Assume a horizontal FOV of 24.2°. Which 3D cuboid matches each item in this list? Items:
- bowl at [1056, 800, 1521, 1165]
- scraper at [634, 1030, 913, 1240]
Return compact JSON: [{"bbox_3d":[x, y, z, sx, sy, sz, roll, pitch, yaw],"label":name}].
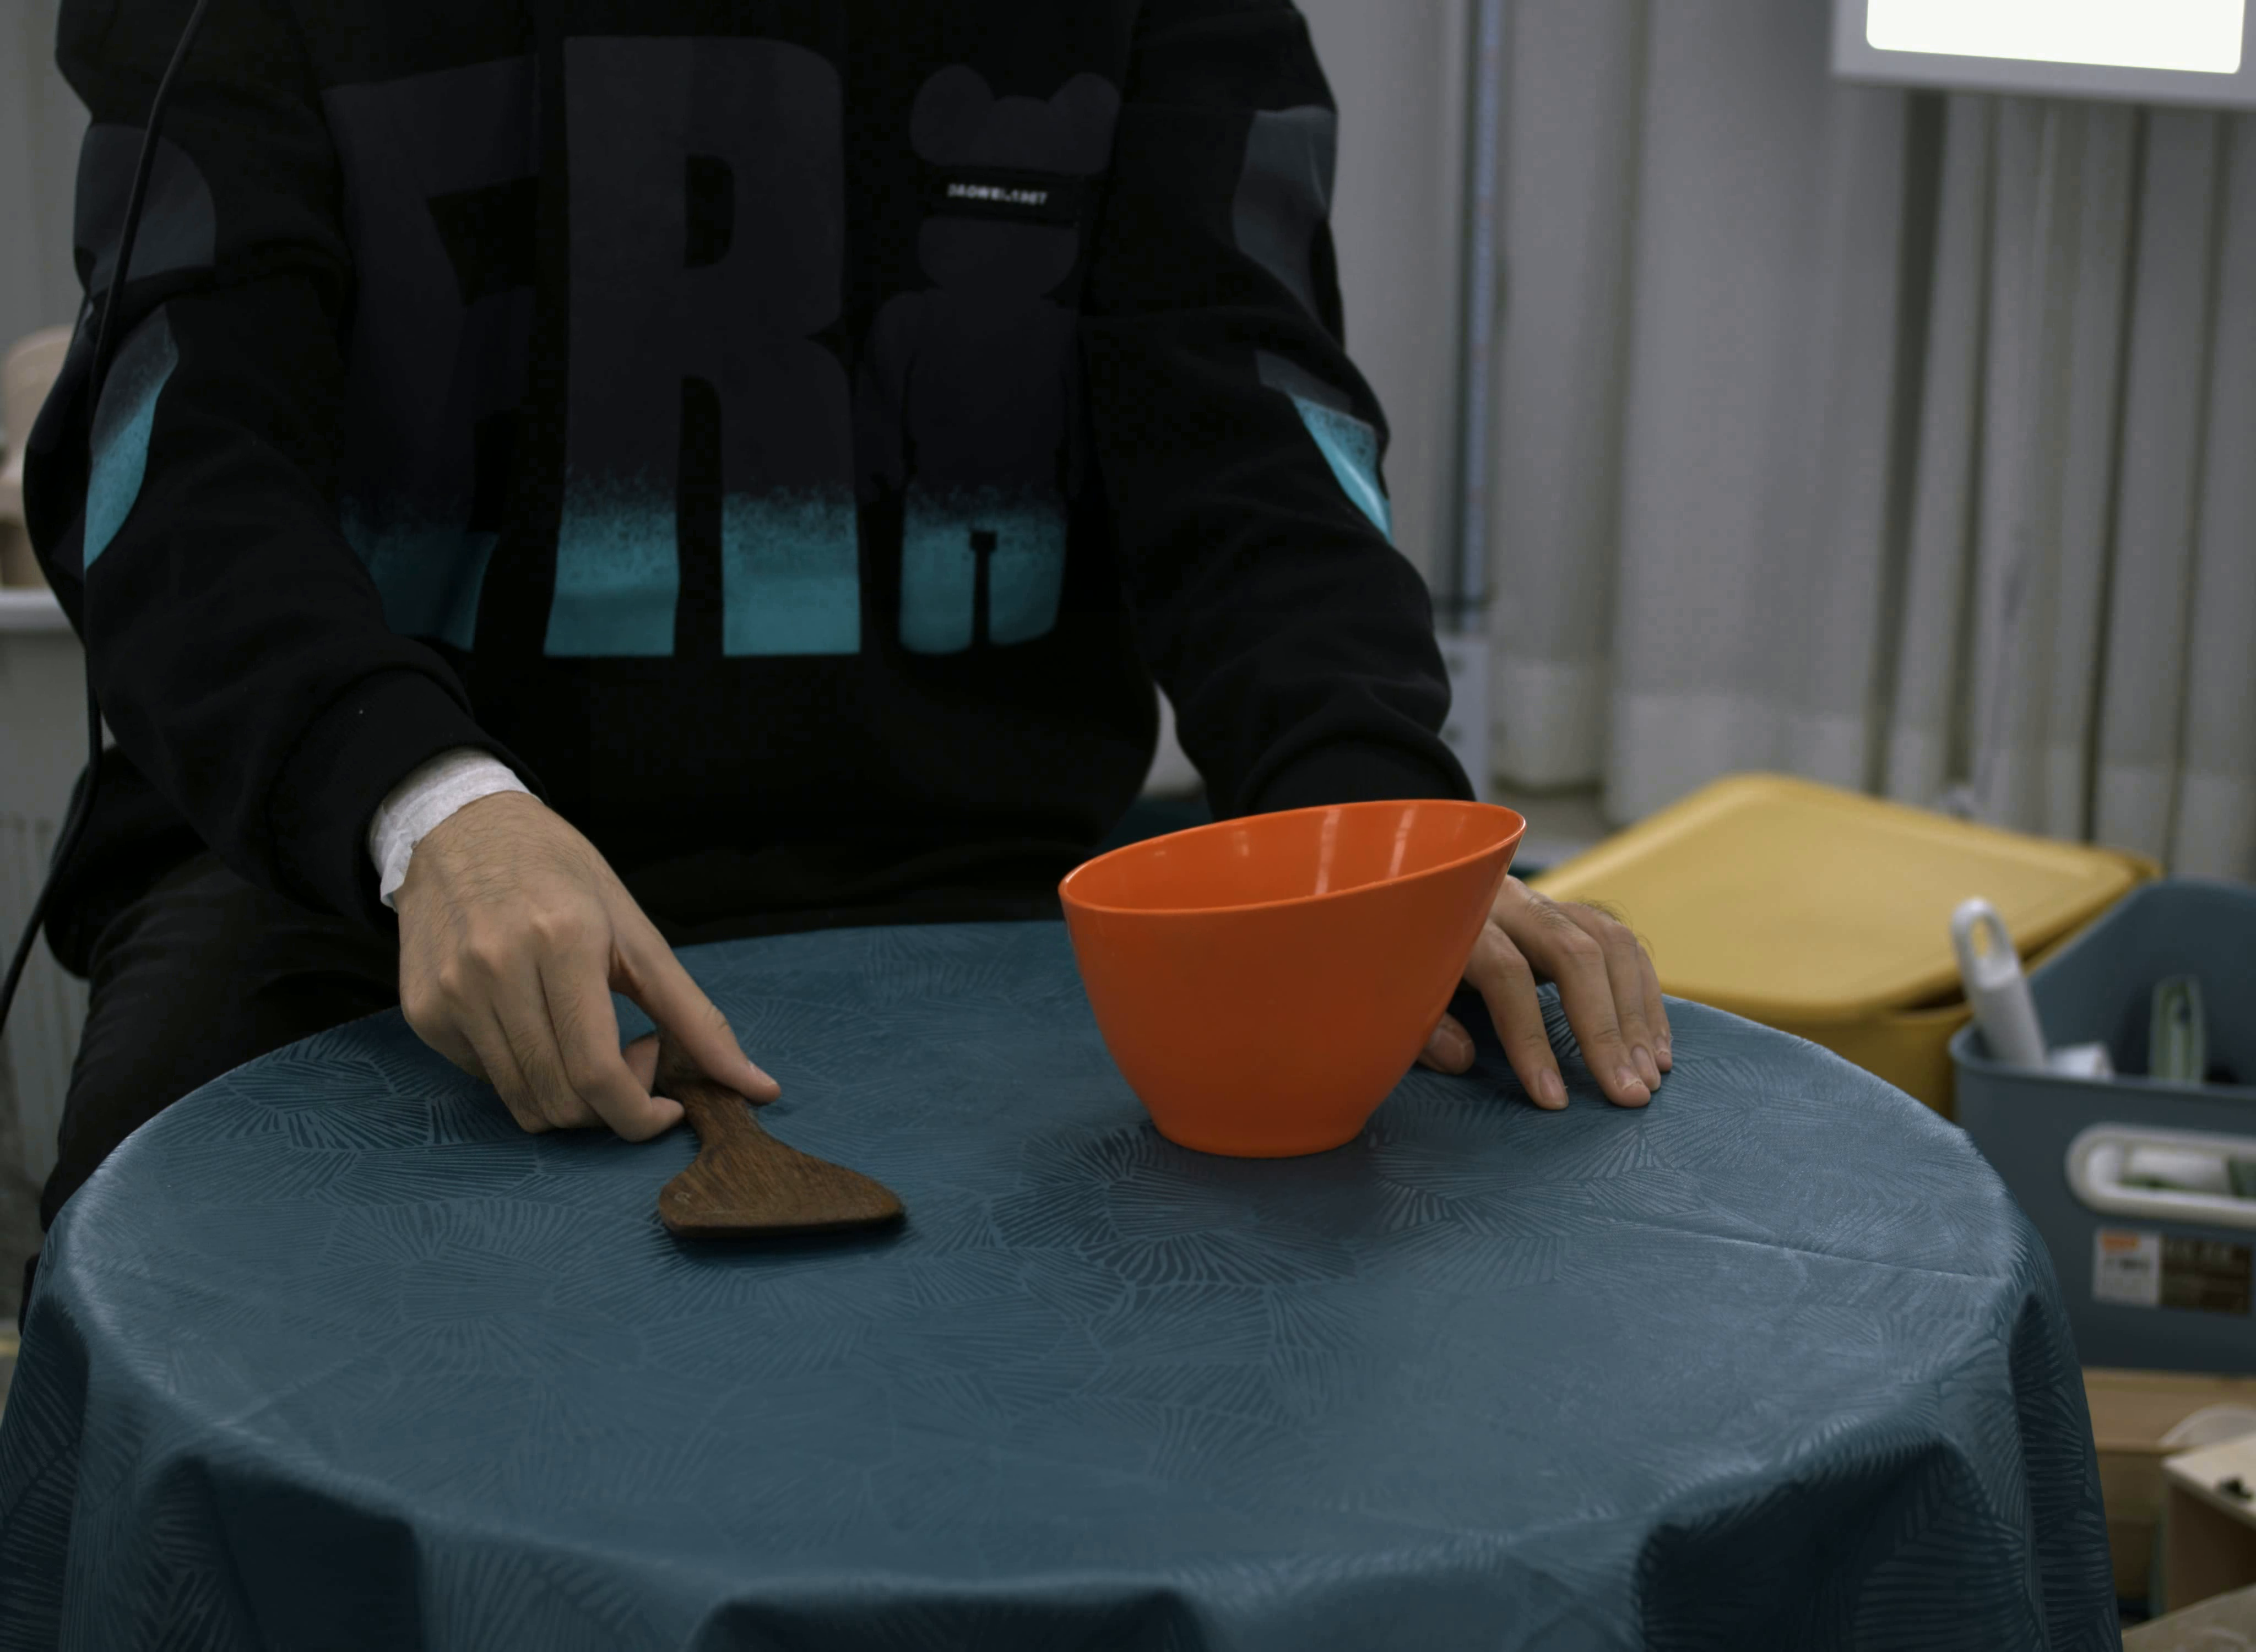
[{"bbox_3d":[0.051,0.050,1.667,0.147,0.105,0.147,-1,17,1],"label":"bowl"},{"bbox_3d":[-0.125,0.097,1.662,0.076,0.011,0.209,-2,15,-15],"label":"scraper"}]
